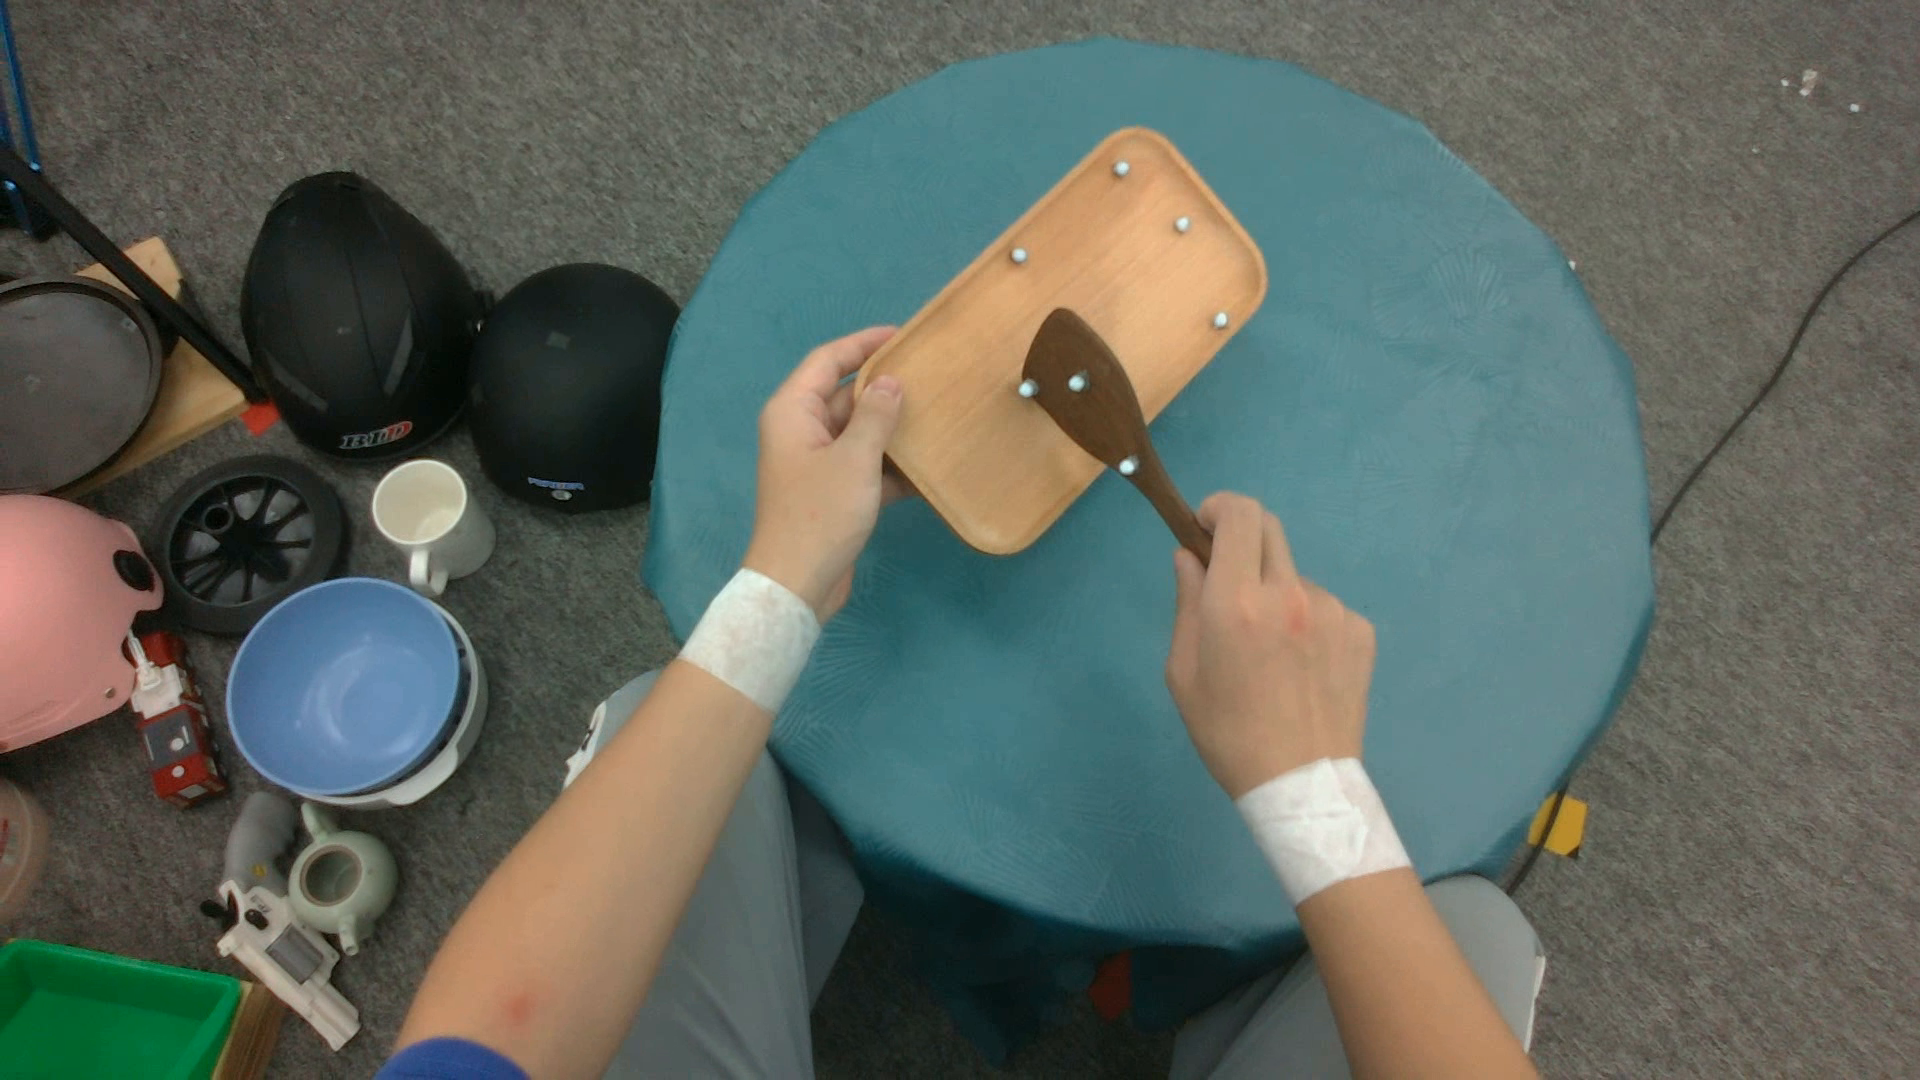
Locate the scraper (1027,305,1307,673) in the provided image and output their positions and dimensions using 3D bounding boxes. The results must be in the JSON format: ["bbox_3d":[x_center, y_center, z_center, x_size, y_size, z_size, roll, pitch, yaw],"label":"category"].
[{"bbox_3d":[0.103,-0.023,0.687,0.011,0.075,0.211,-28,75,-27],"label":"scraper"}]

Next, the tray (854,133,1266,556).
[{"bbox_3d":[0.060,-0.110,0.750,0.251,0.023,0.130,-44,96,-19],"label":"tray"}]
